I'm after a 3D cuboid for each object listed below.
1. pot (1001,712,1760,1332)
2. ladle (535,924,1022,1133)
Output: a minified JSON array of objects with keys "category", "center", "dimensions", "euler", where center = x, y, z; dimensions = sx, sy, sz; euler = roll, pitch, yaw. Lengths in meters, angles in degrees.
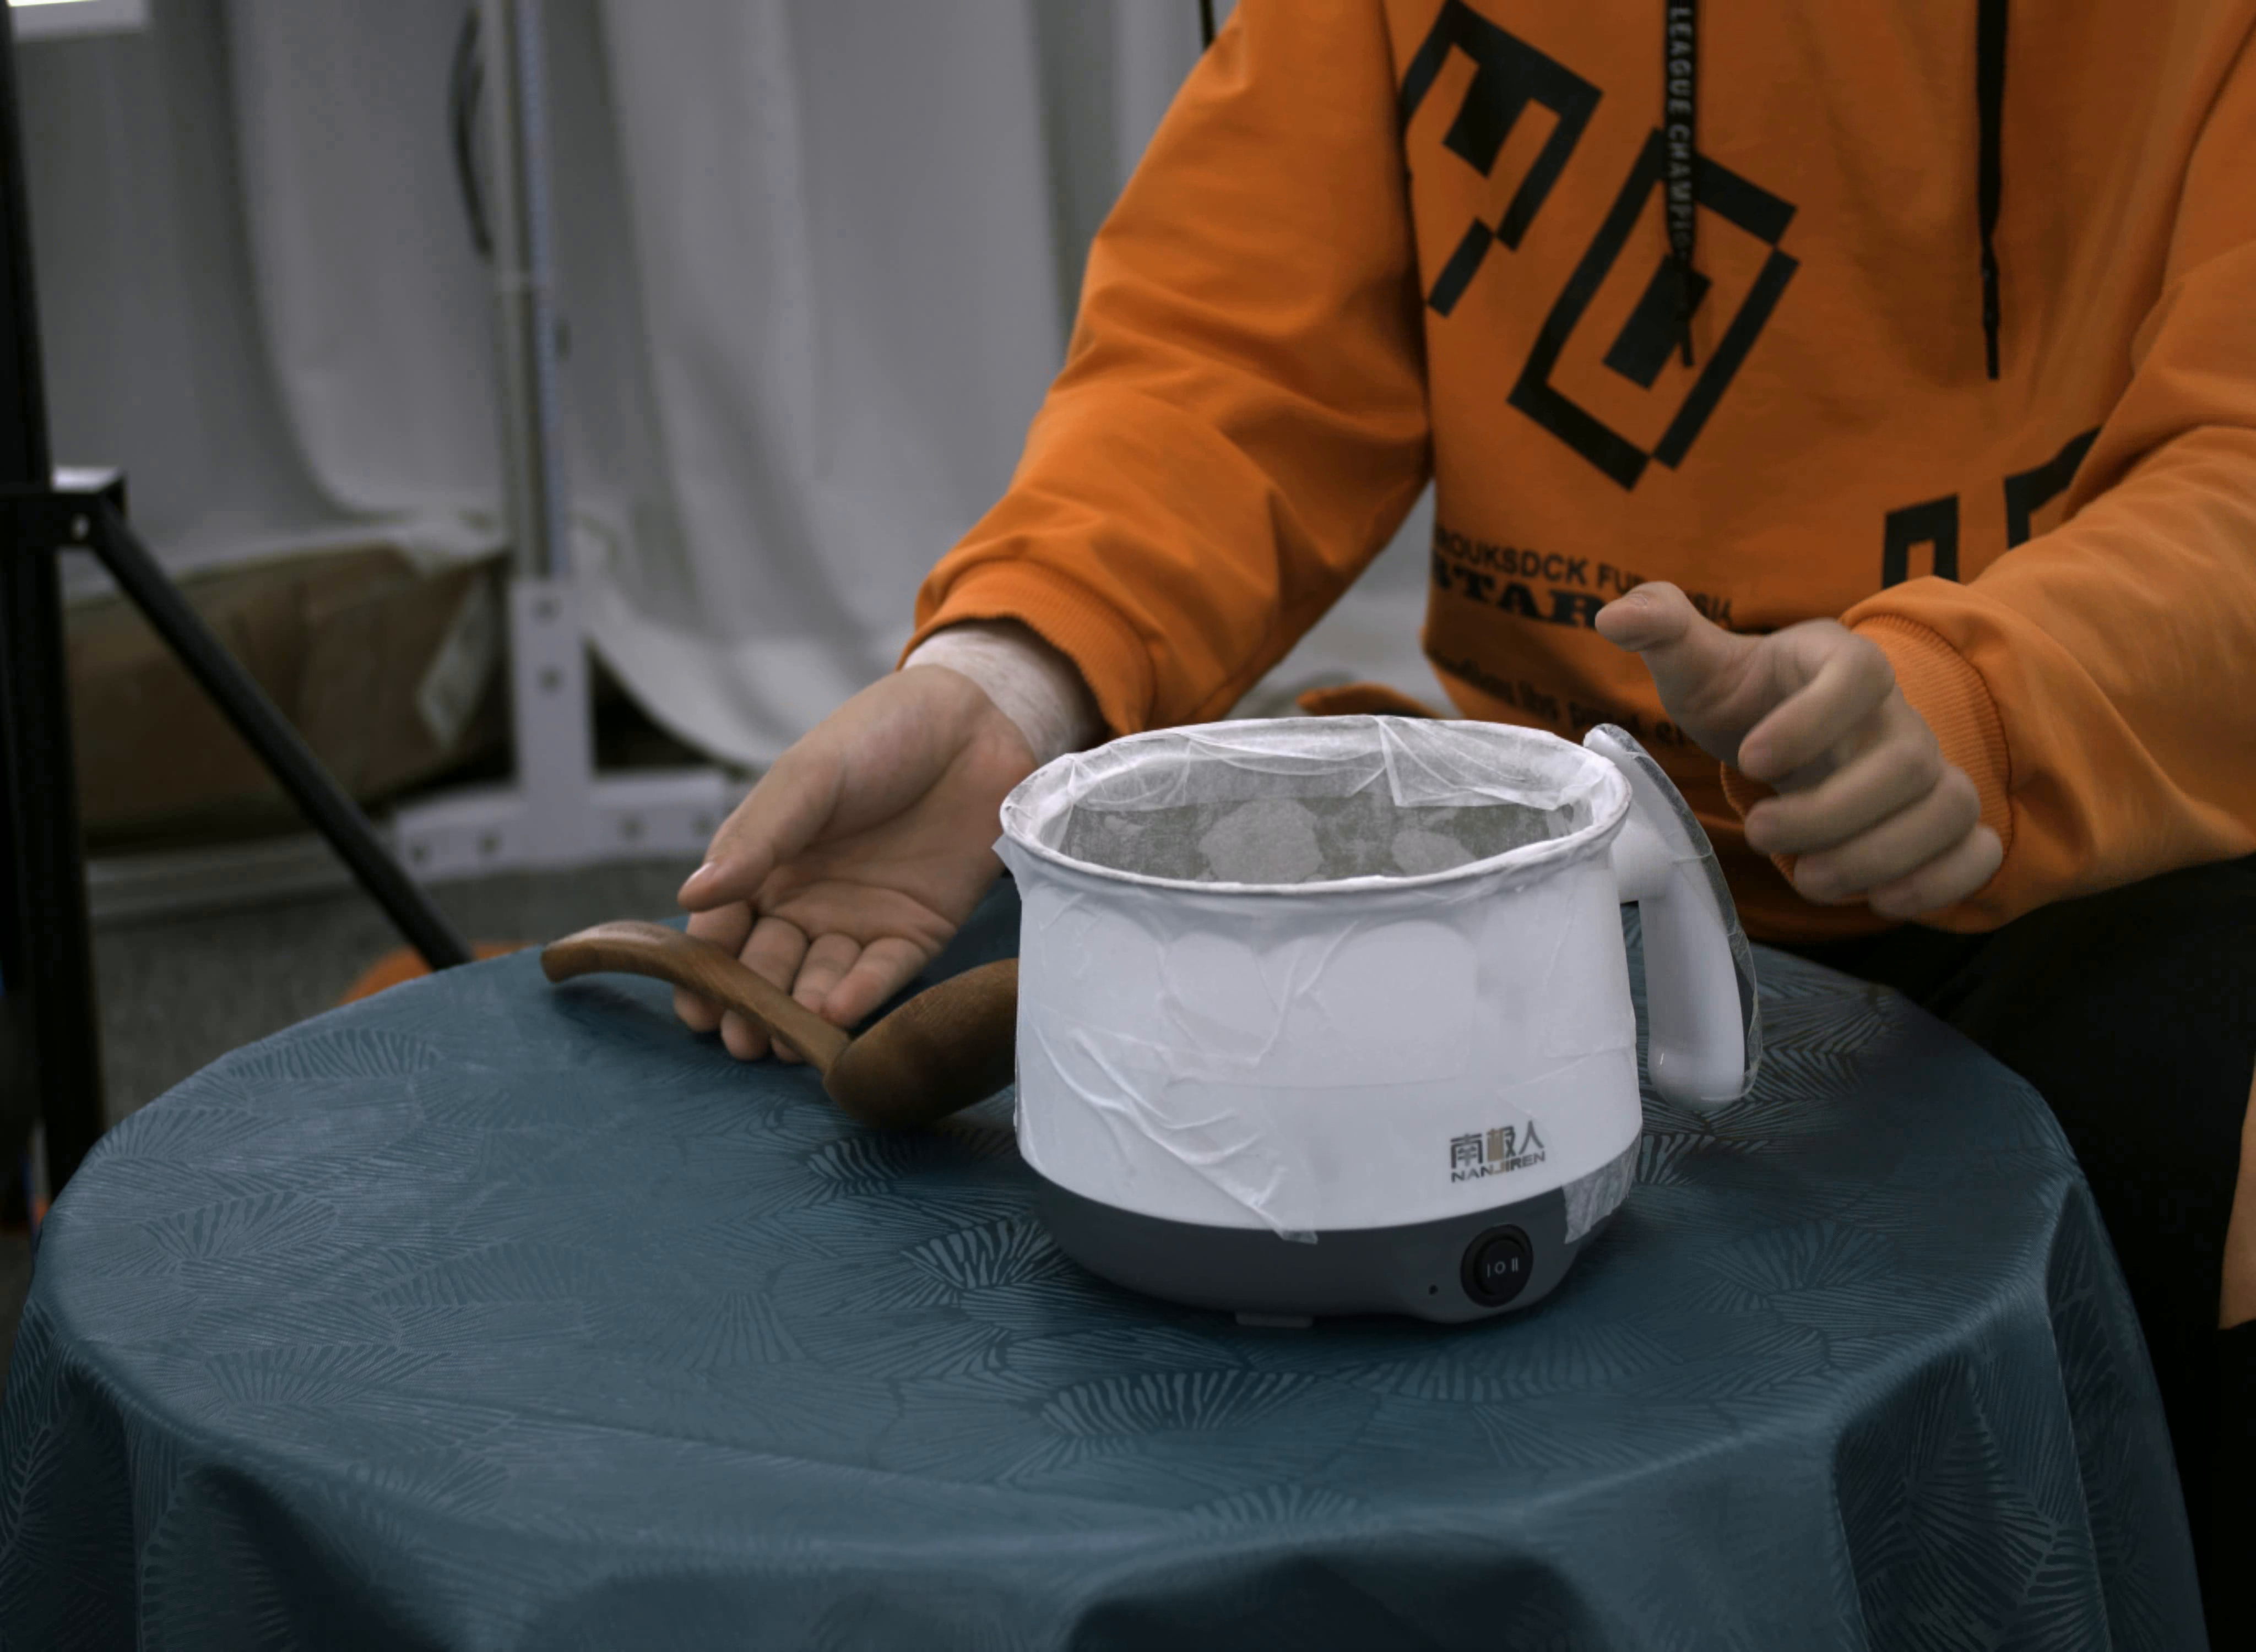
[{"category":"pot","center":[0.078,0.048,1.504],"dimensions":[0.228,0.136,0.182],"euler":[-11,18,-29]},{"category":"ladle","center":[-0.115,0.046,1.677],"dimensions":[0.075,0.065,0.266],"euler":[-12,19,-34]}]
